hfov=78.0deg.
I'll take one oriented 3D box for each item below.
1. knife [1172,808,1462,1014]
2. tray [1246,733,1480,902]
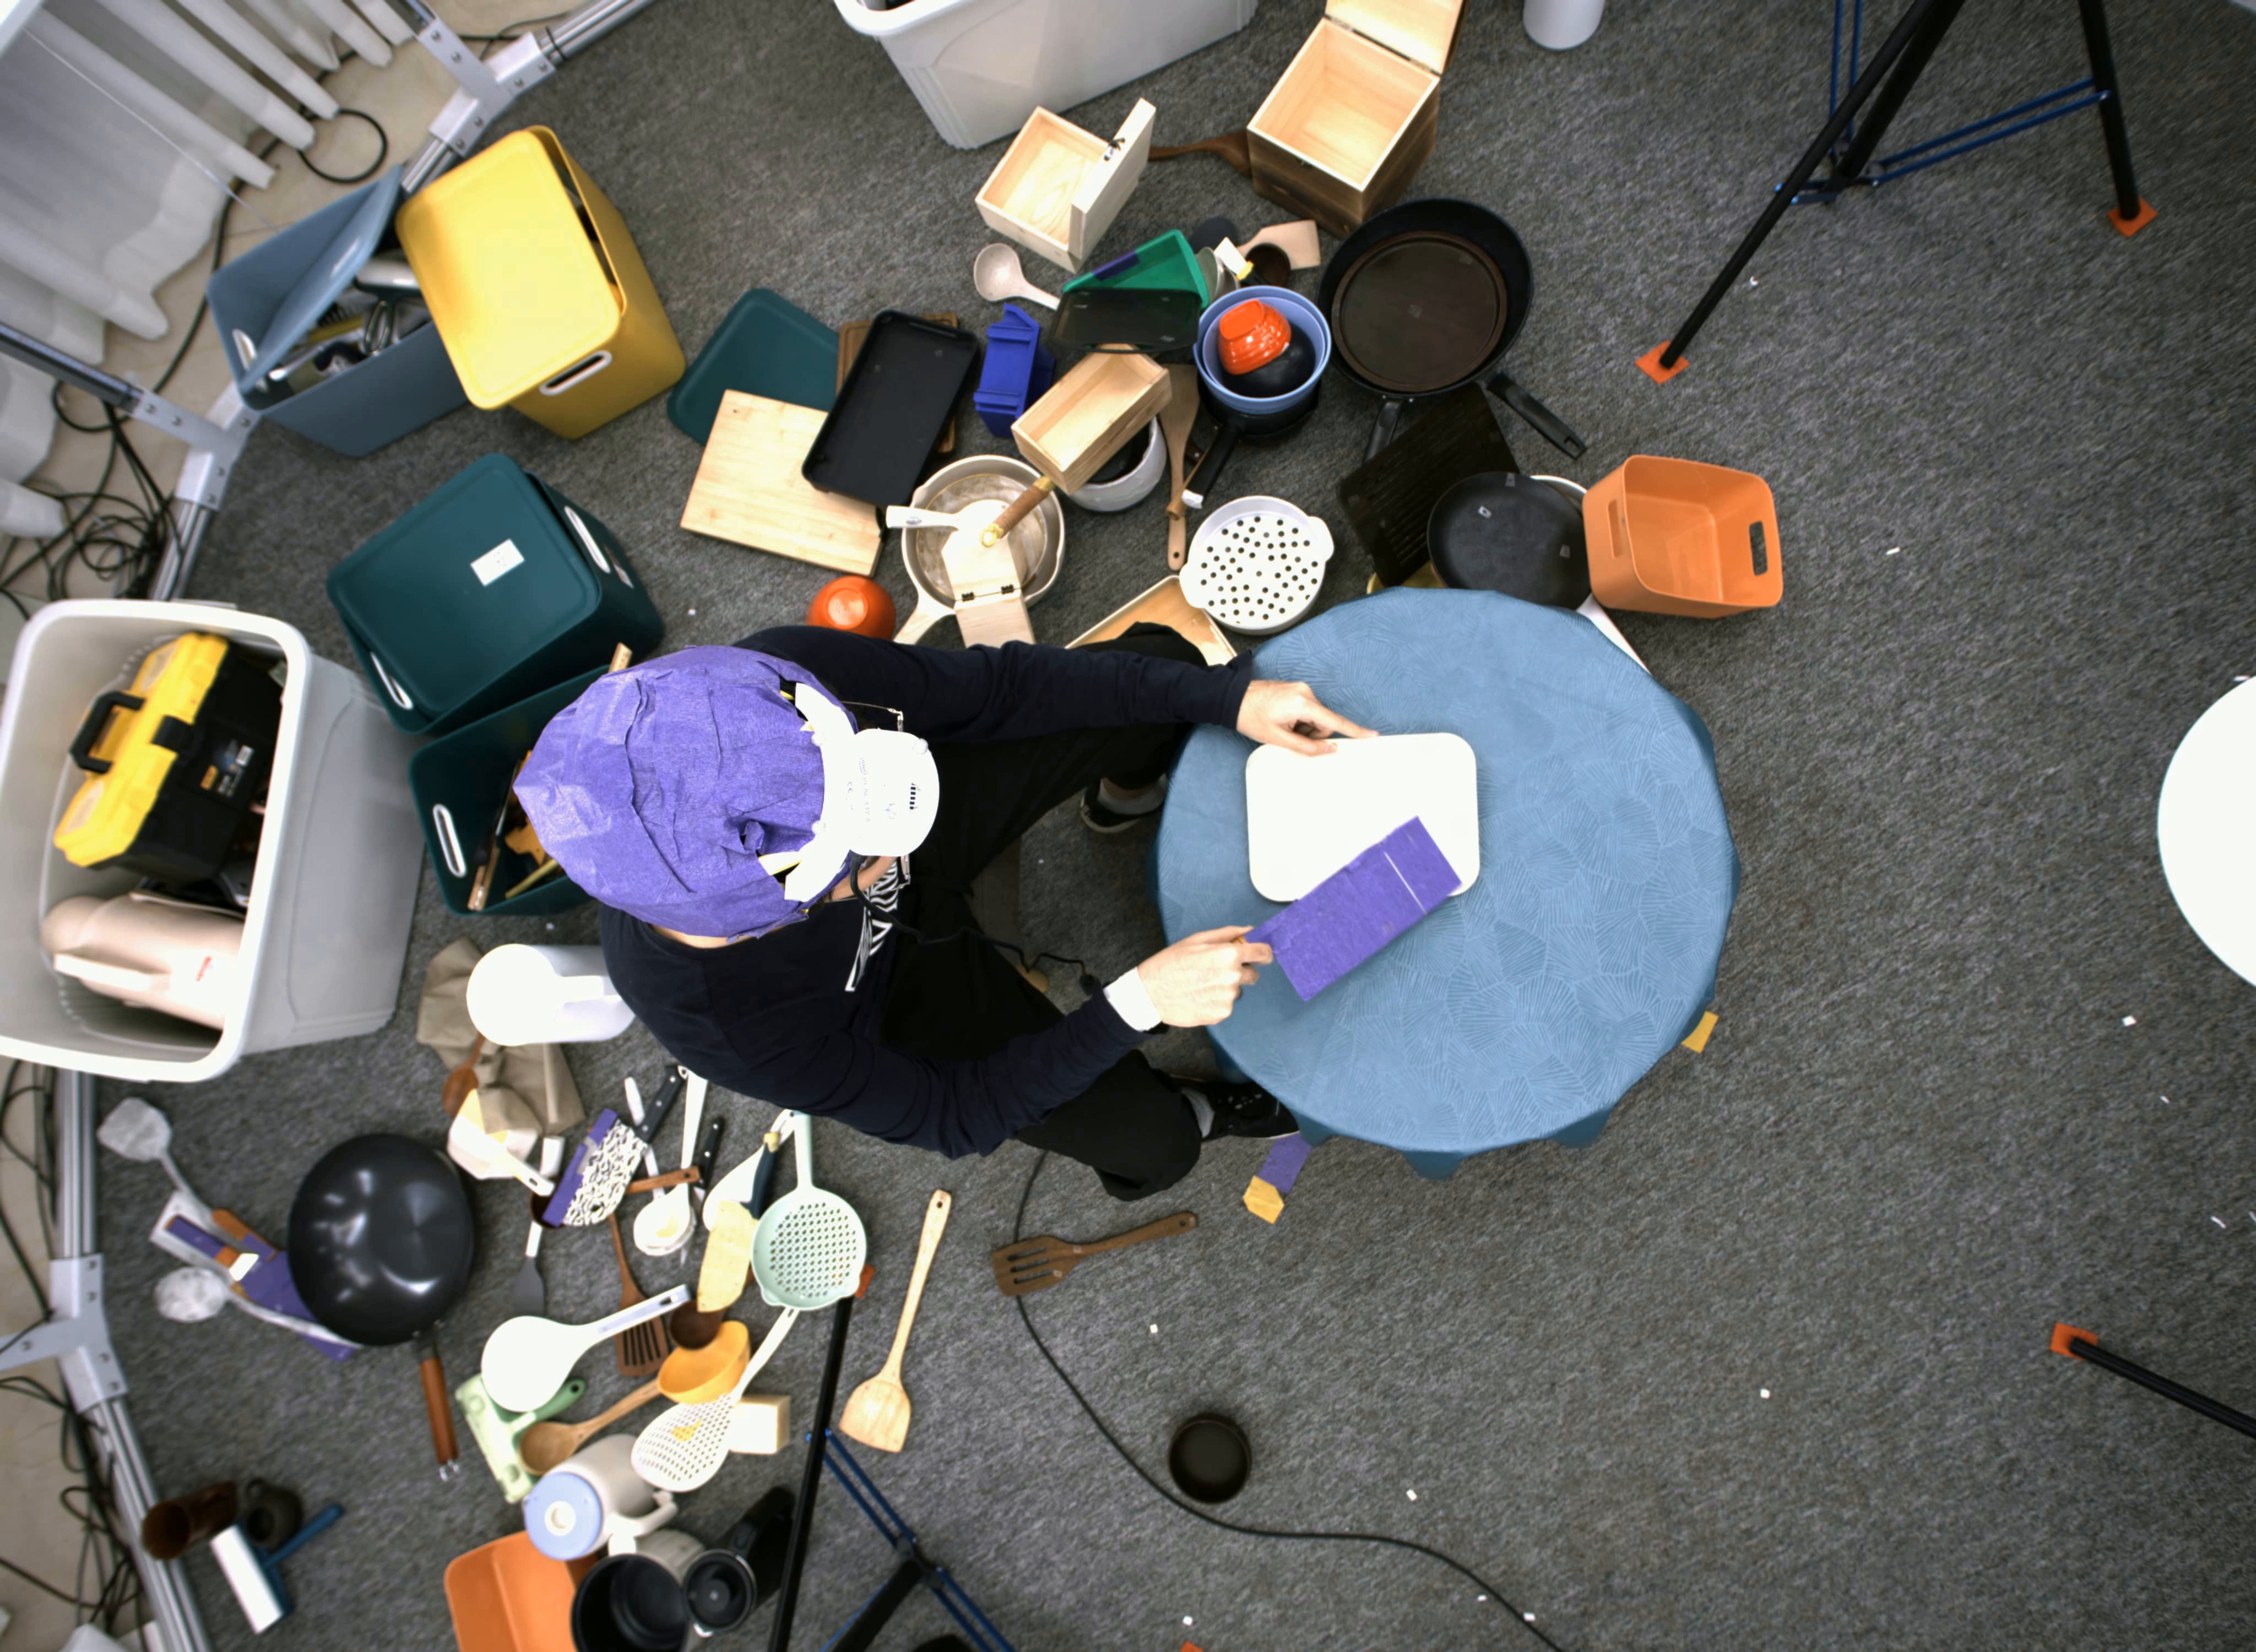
[{"bbox_3d":[0.195,0.109,1.376,0.314,0.032,0.104,-35,97,-5],"label":"knife"},{"bbox_3d":[0.246,-0.009,1.451,0.241,0.017,0.172,-2,95,10],"label":"tray"}]
